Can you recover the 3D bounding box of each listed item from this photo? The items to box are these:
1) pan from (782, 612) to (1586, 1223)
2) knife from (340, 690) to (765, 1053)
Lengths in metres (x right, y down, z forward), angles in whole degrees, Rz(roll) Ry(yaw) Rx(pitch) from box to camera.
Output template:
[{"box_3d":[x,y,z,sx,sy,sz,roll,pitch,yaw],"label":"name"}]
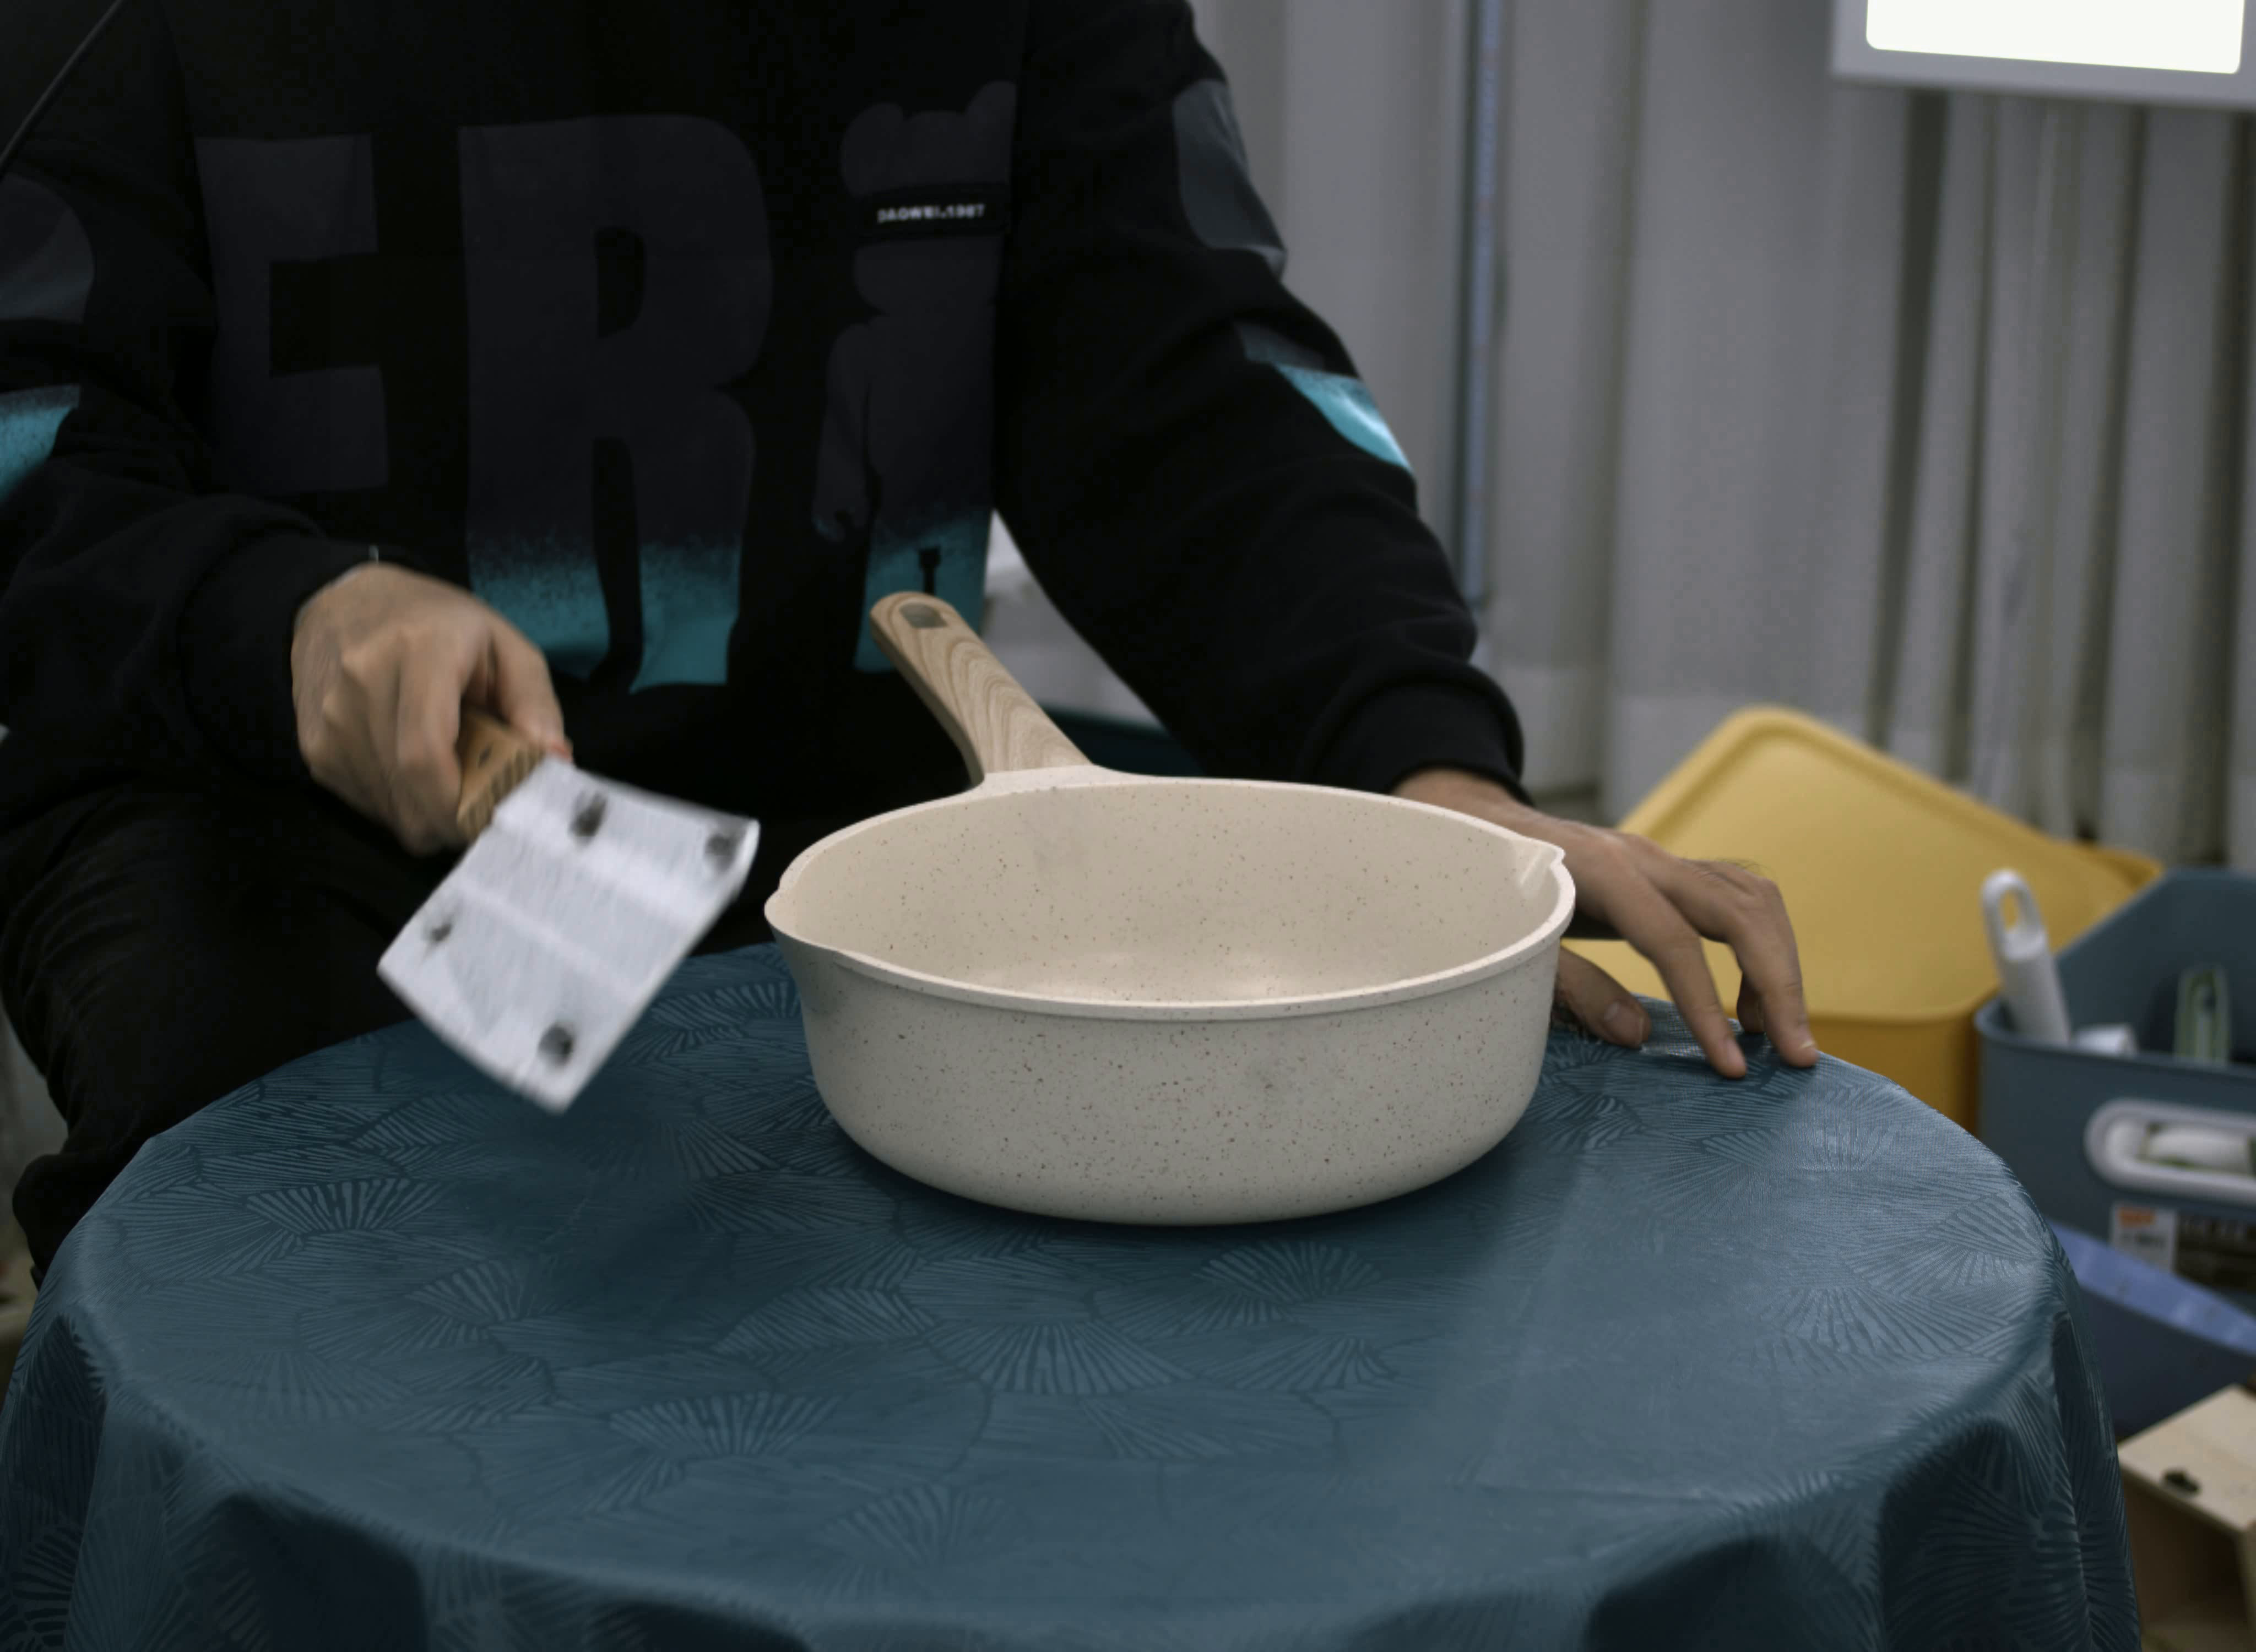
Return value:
[{"box_3d":[-0.011,0.025,1.750,0.264,0.103,0.430,-8,18,-18],"label":"pan"},{"box_3d":[-0.186,0.001,1.606,0.022,0.114,0.312,41,-5,-25],"label":"knife"}]
